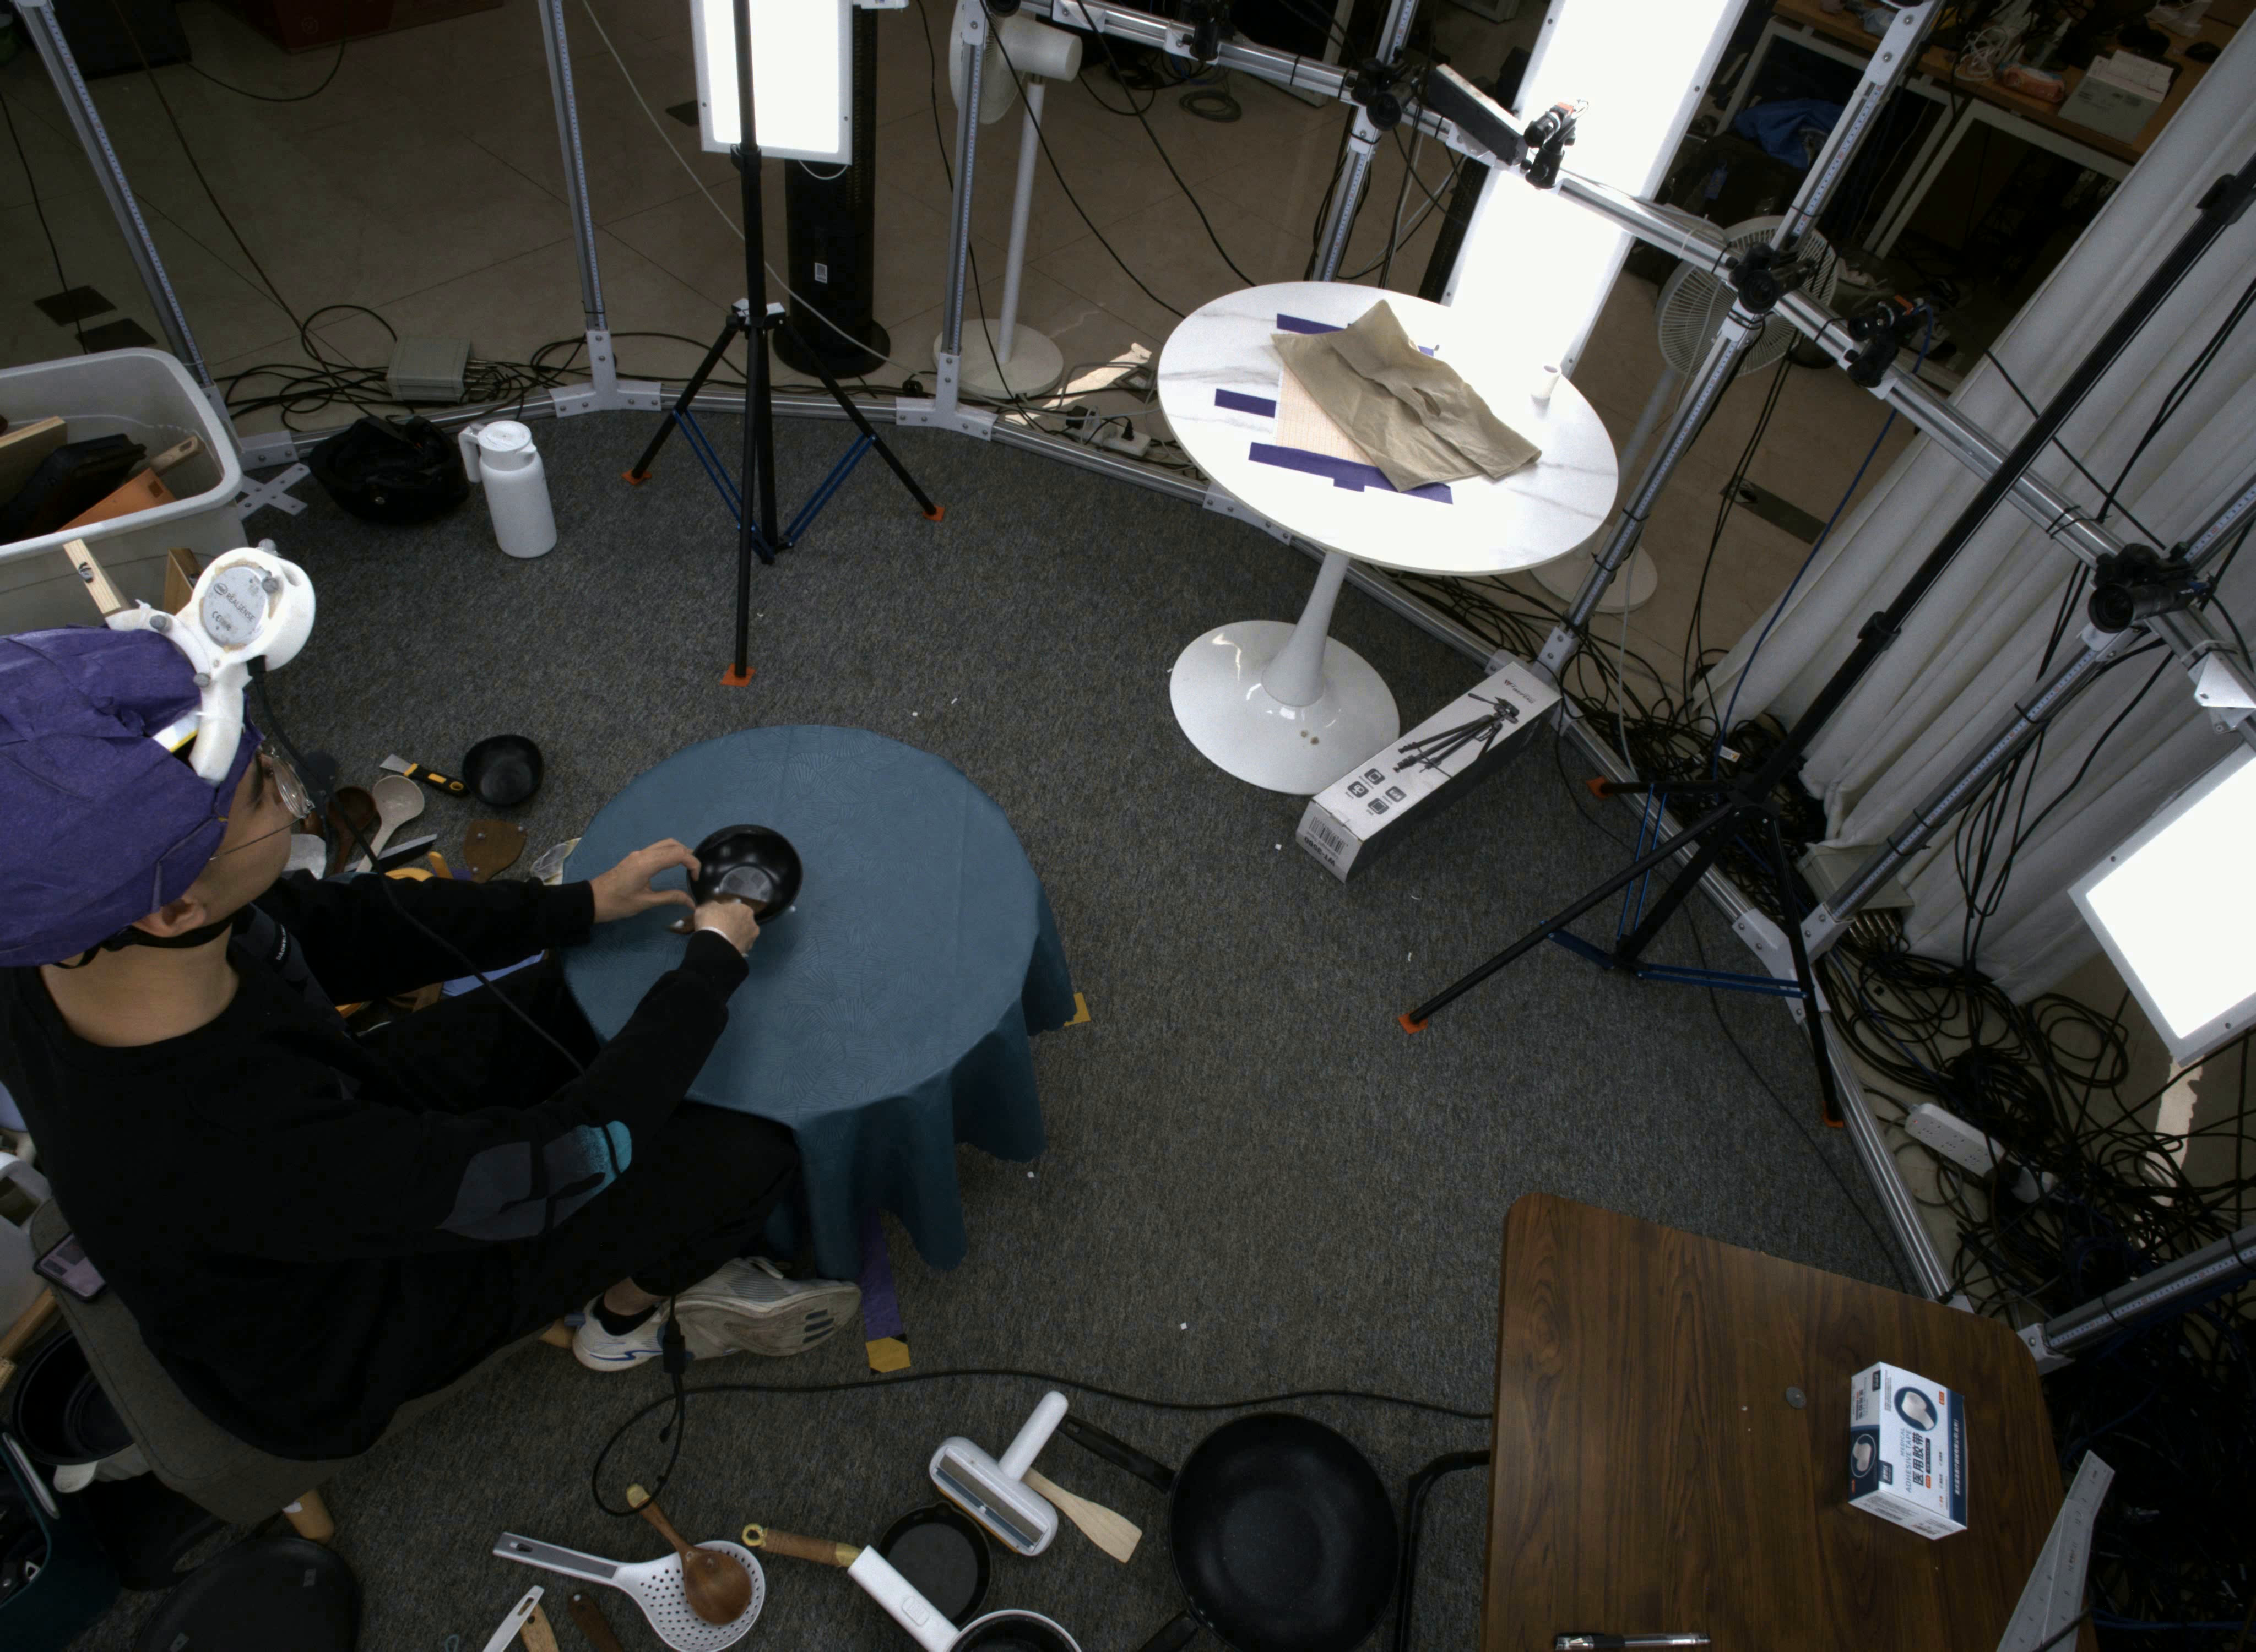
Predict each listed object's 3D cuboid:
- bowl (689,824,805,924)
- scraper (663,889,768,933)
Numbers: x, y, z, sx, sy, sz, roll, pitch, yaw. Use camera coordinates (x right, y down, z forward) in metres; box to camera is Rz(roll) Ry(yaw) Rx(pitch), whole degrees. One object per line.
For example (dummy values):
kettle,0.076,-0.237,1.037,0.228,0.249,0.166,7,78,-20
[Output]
bowl,-0.469,0.066,1.592,0.140,0.050,0.137,12,51,-14
scraper,-0.487,0.099,1.500,0.075,0.011,0.210,15,7,3
